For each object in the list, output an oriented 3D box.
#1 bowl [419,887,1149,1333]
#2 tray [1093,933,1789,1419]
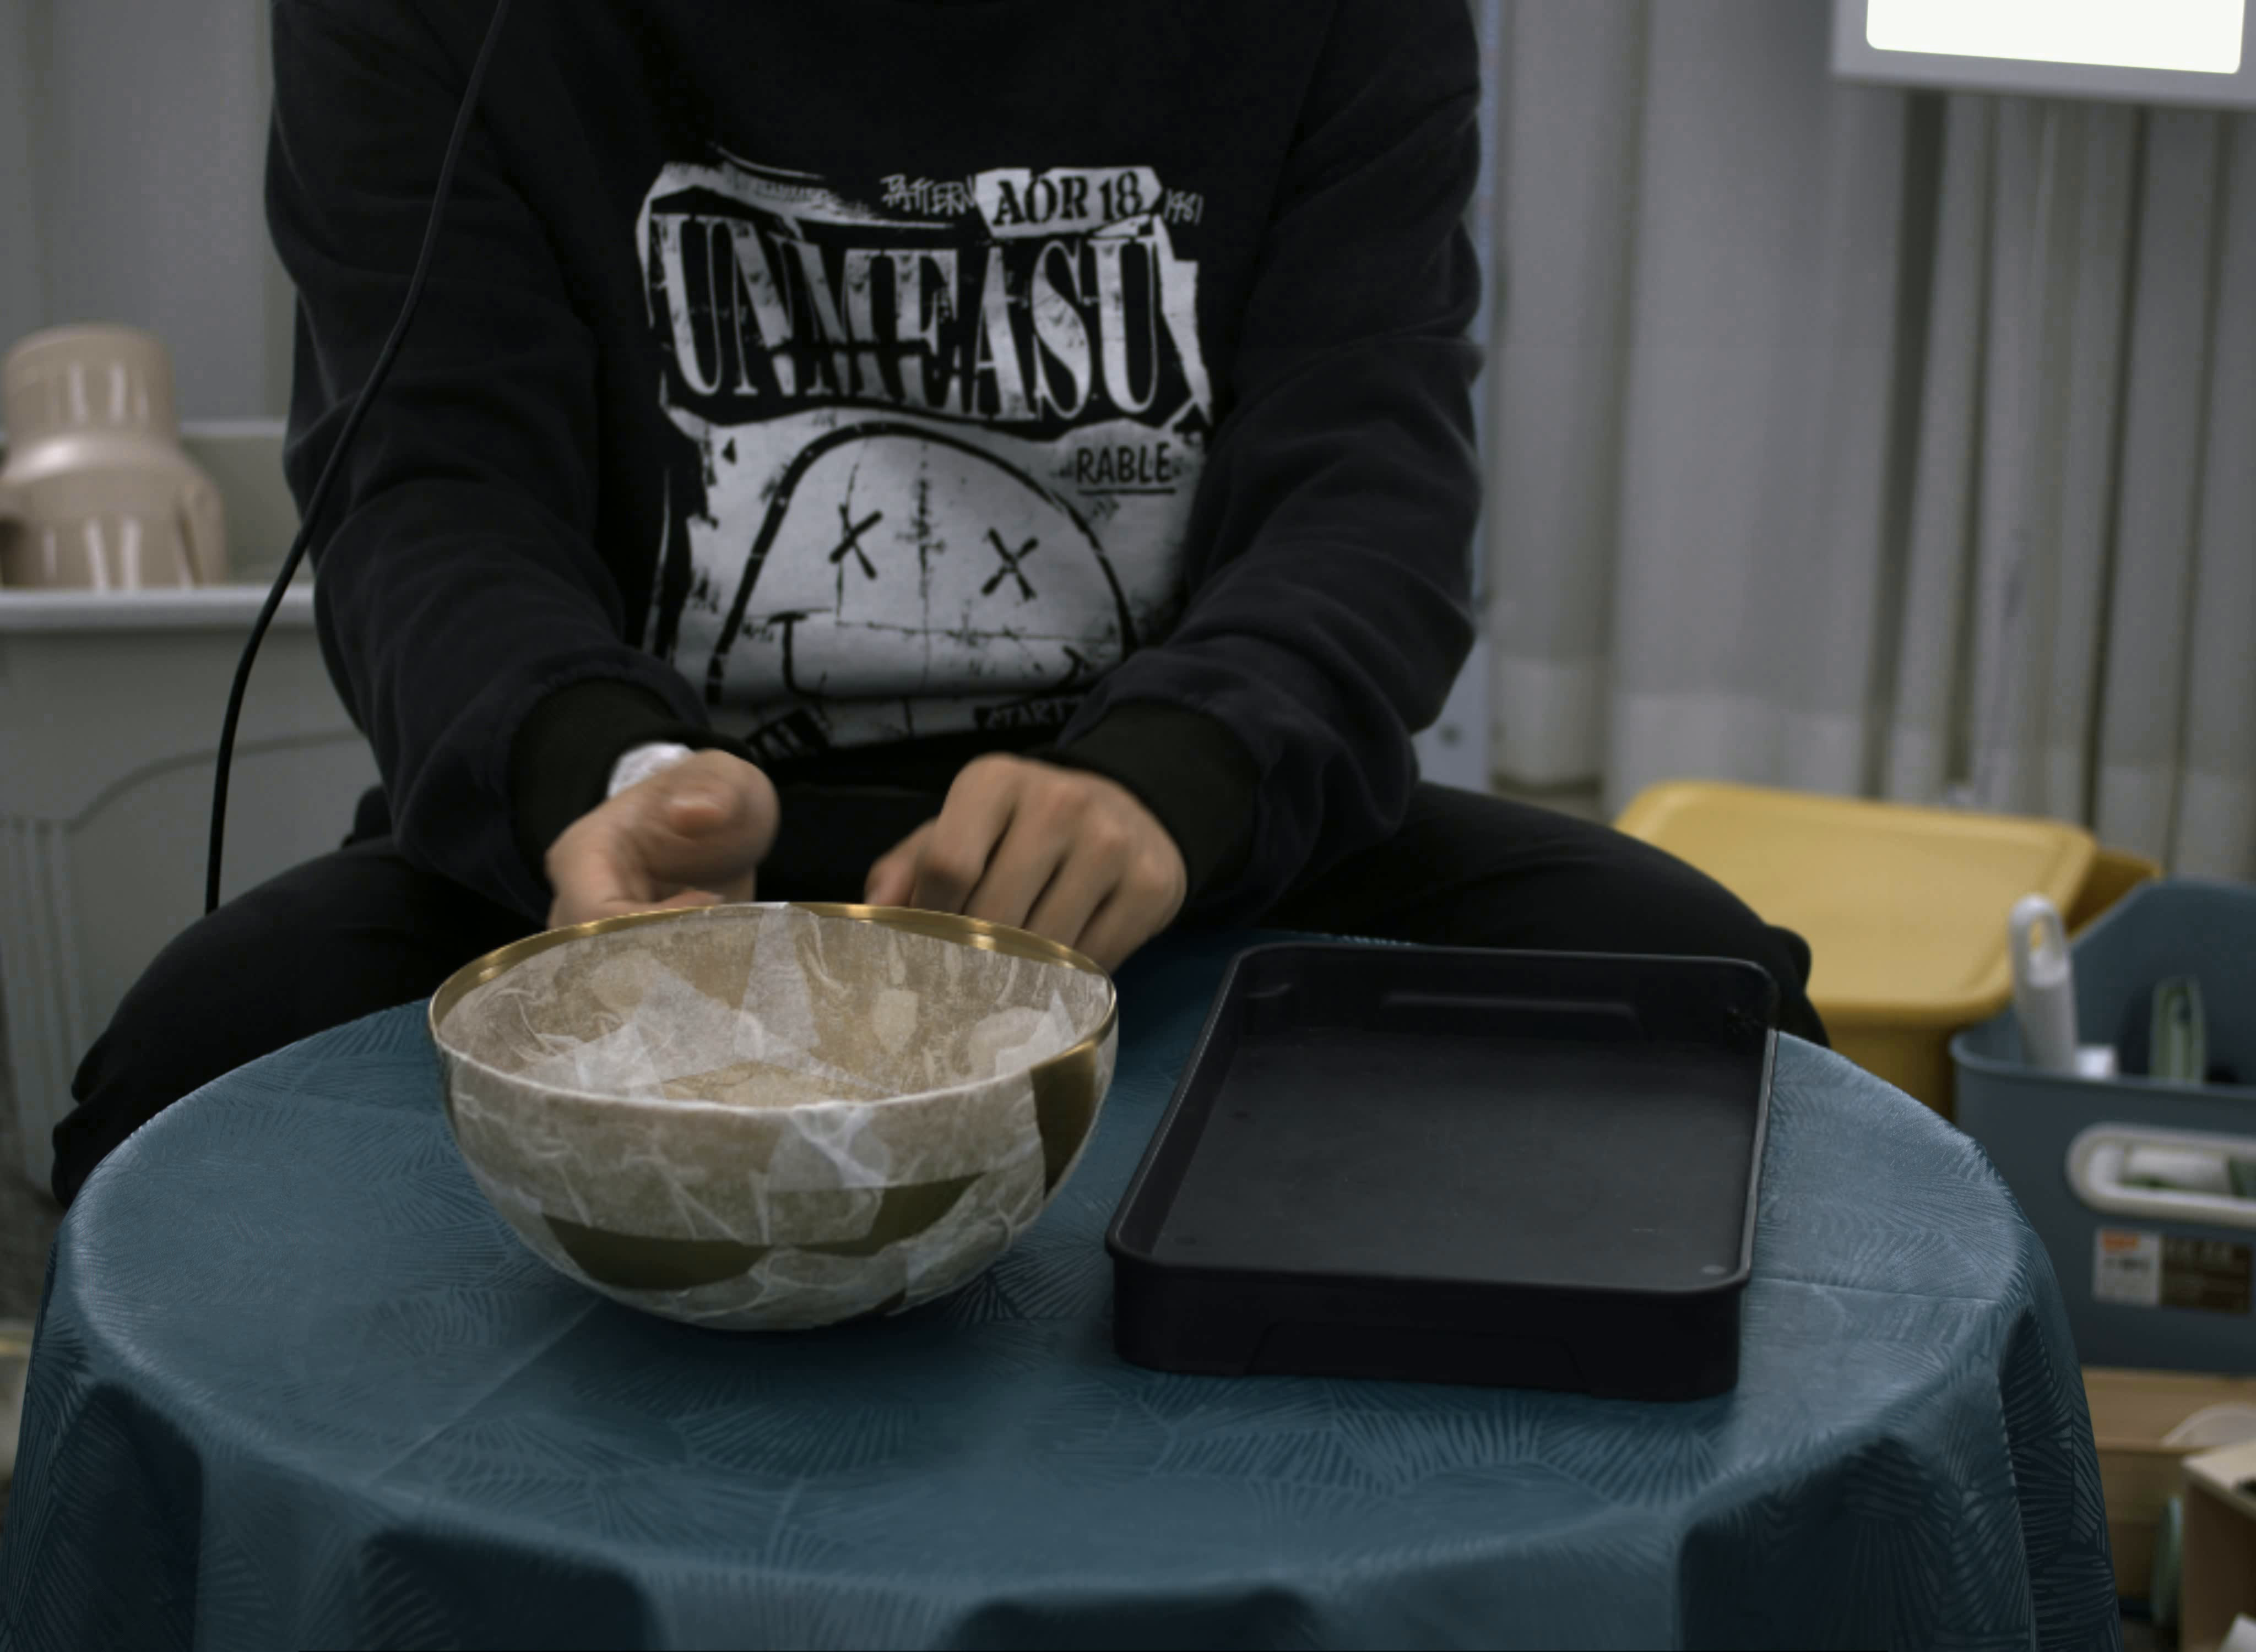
[{"bbox_3d":[-0.099,0.091,1.529,0.214,0.095,0.213,0,16,1],"label":"bowl"},{"bbox_3d":[0.103,0.100,1.613,0.183,0.037,0.317,3,17,9],"label":"tray"}]
